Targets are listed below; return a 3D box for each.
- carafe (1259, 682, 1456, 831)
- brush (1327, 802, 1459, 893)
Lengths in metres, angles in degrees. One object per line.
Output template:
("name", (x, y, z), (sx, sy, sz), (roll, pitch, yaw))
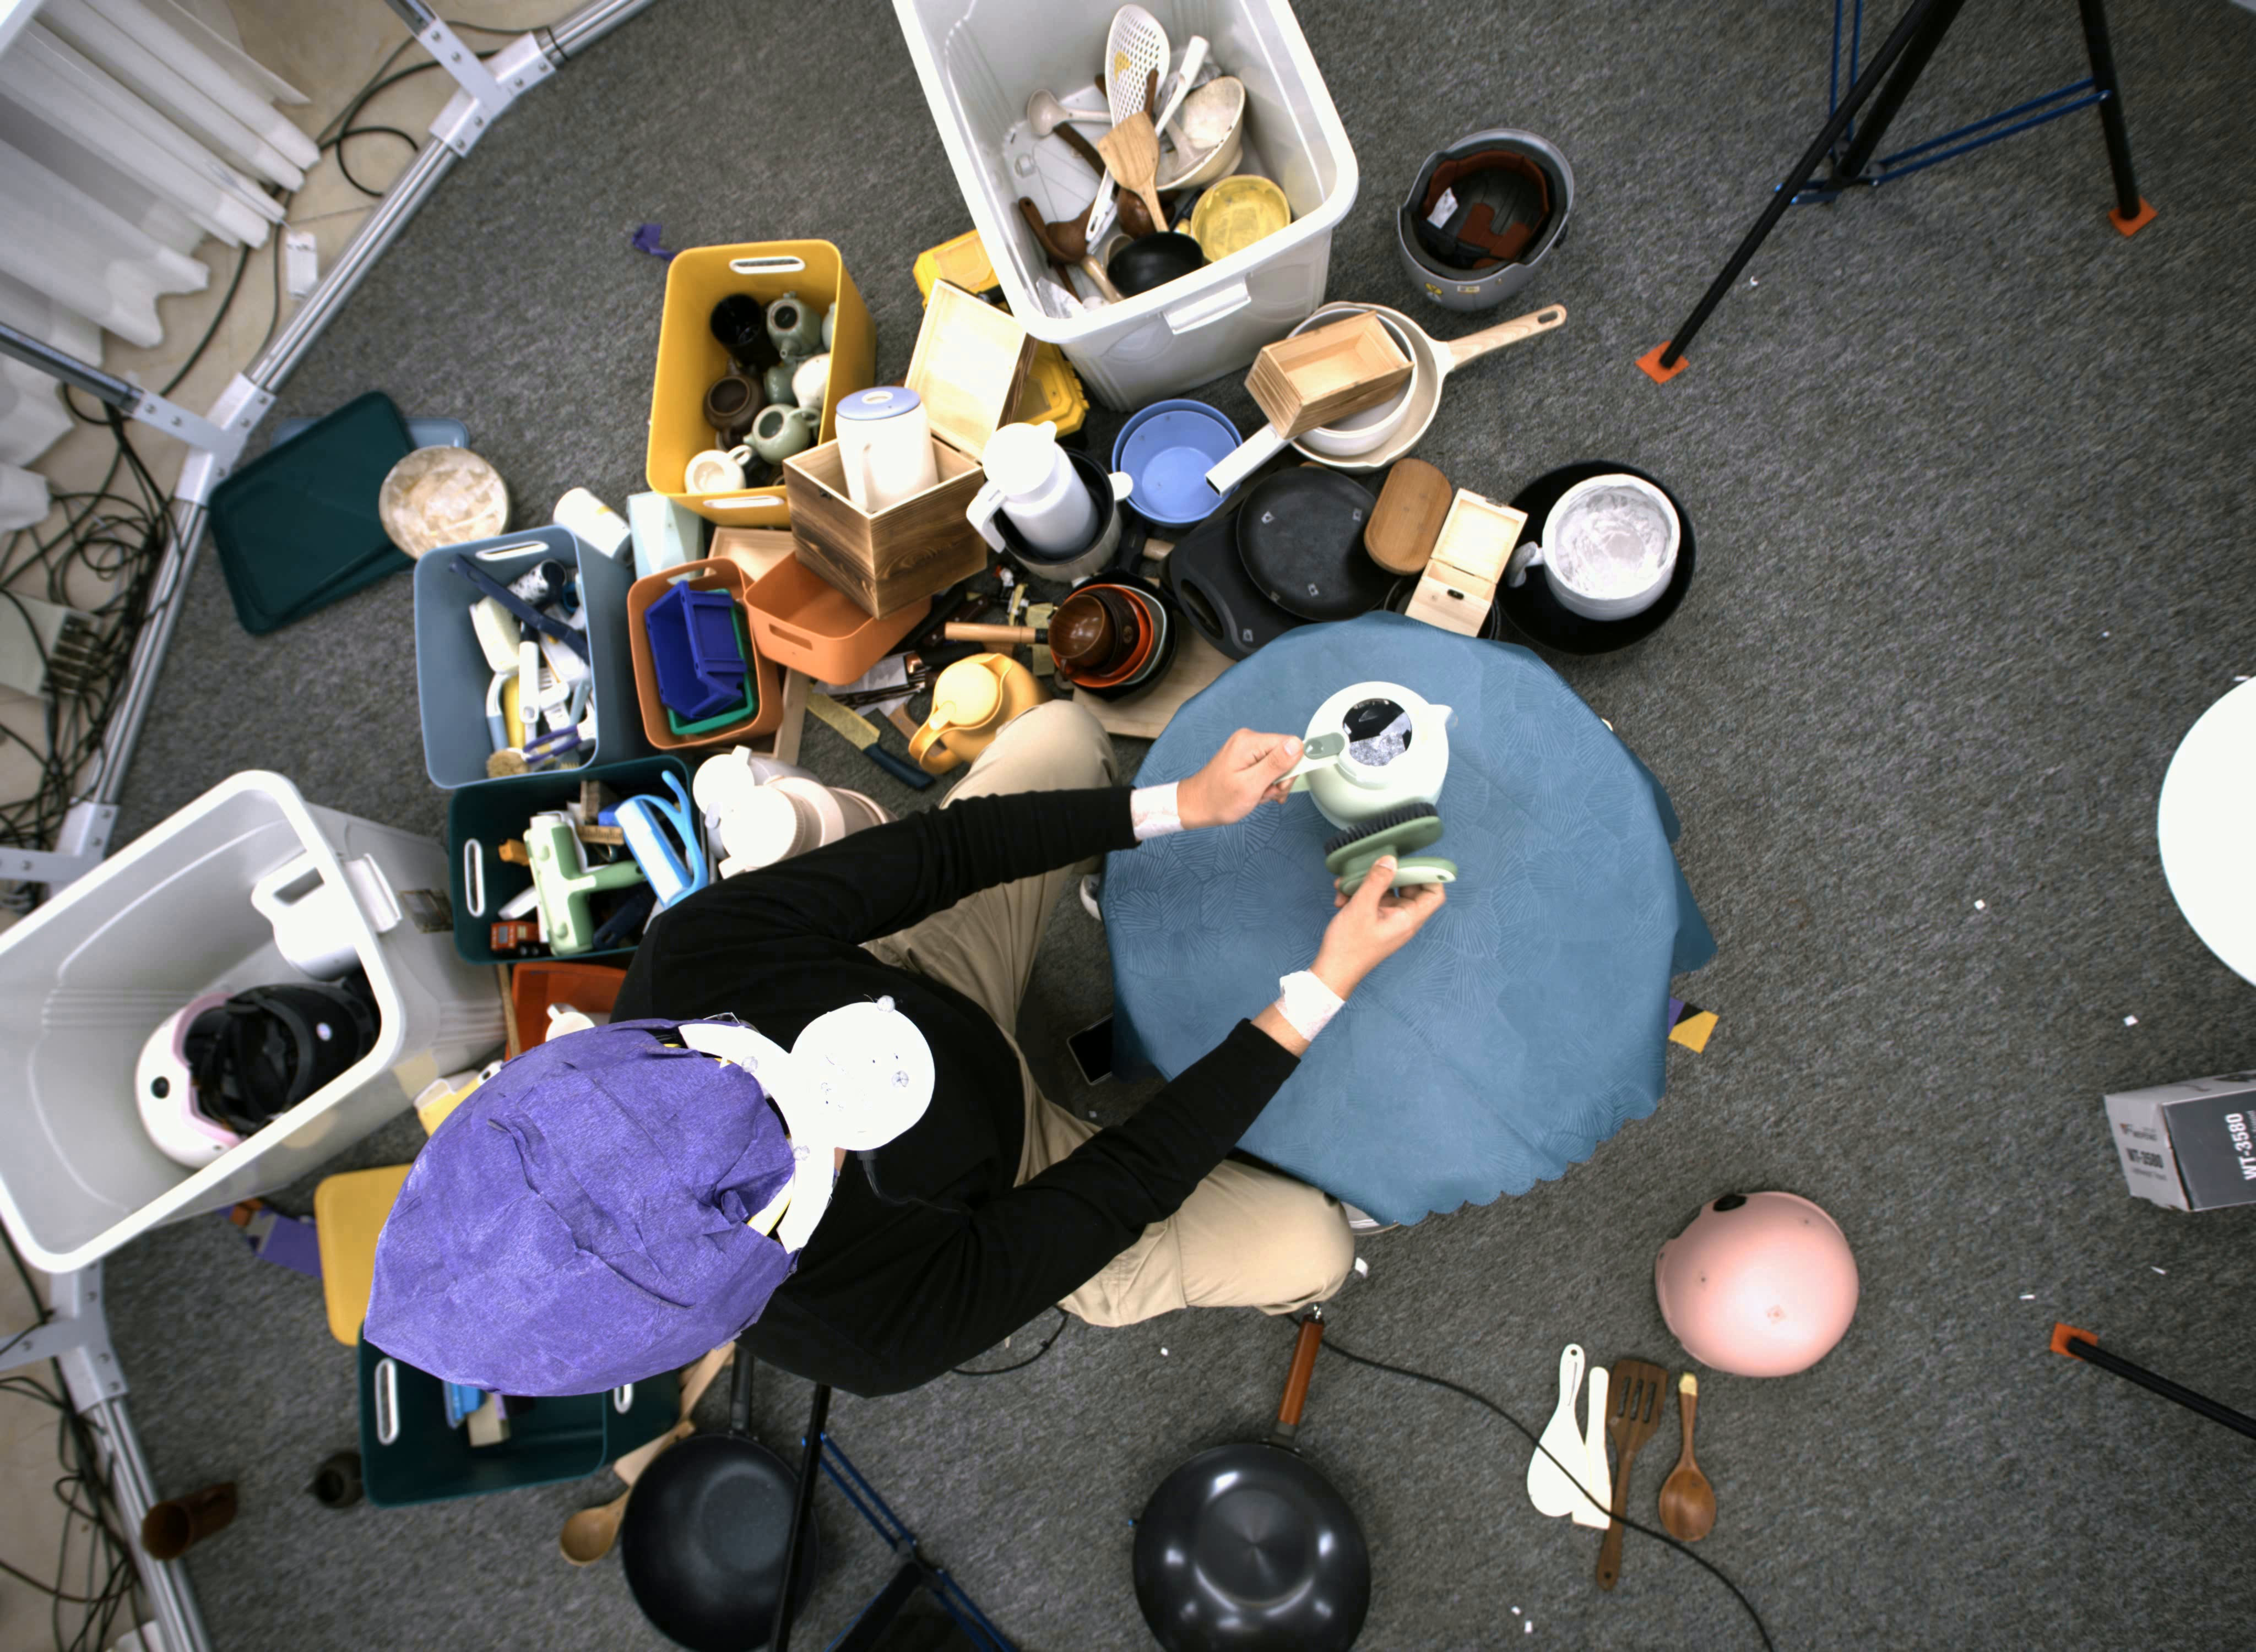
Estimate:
("carafe", (0.227, -0.068, 1.346), (0.188, 0.257, 0.143), (-14, 83, 11))
("brush", (0.248, 0.021, 1.299), (0.124, 0.060, 0.074), (-8, 67, 23))
